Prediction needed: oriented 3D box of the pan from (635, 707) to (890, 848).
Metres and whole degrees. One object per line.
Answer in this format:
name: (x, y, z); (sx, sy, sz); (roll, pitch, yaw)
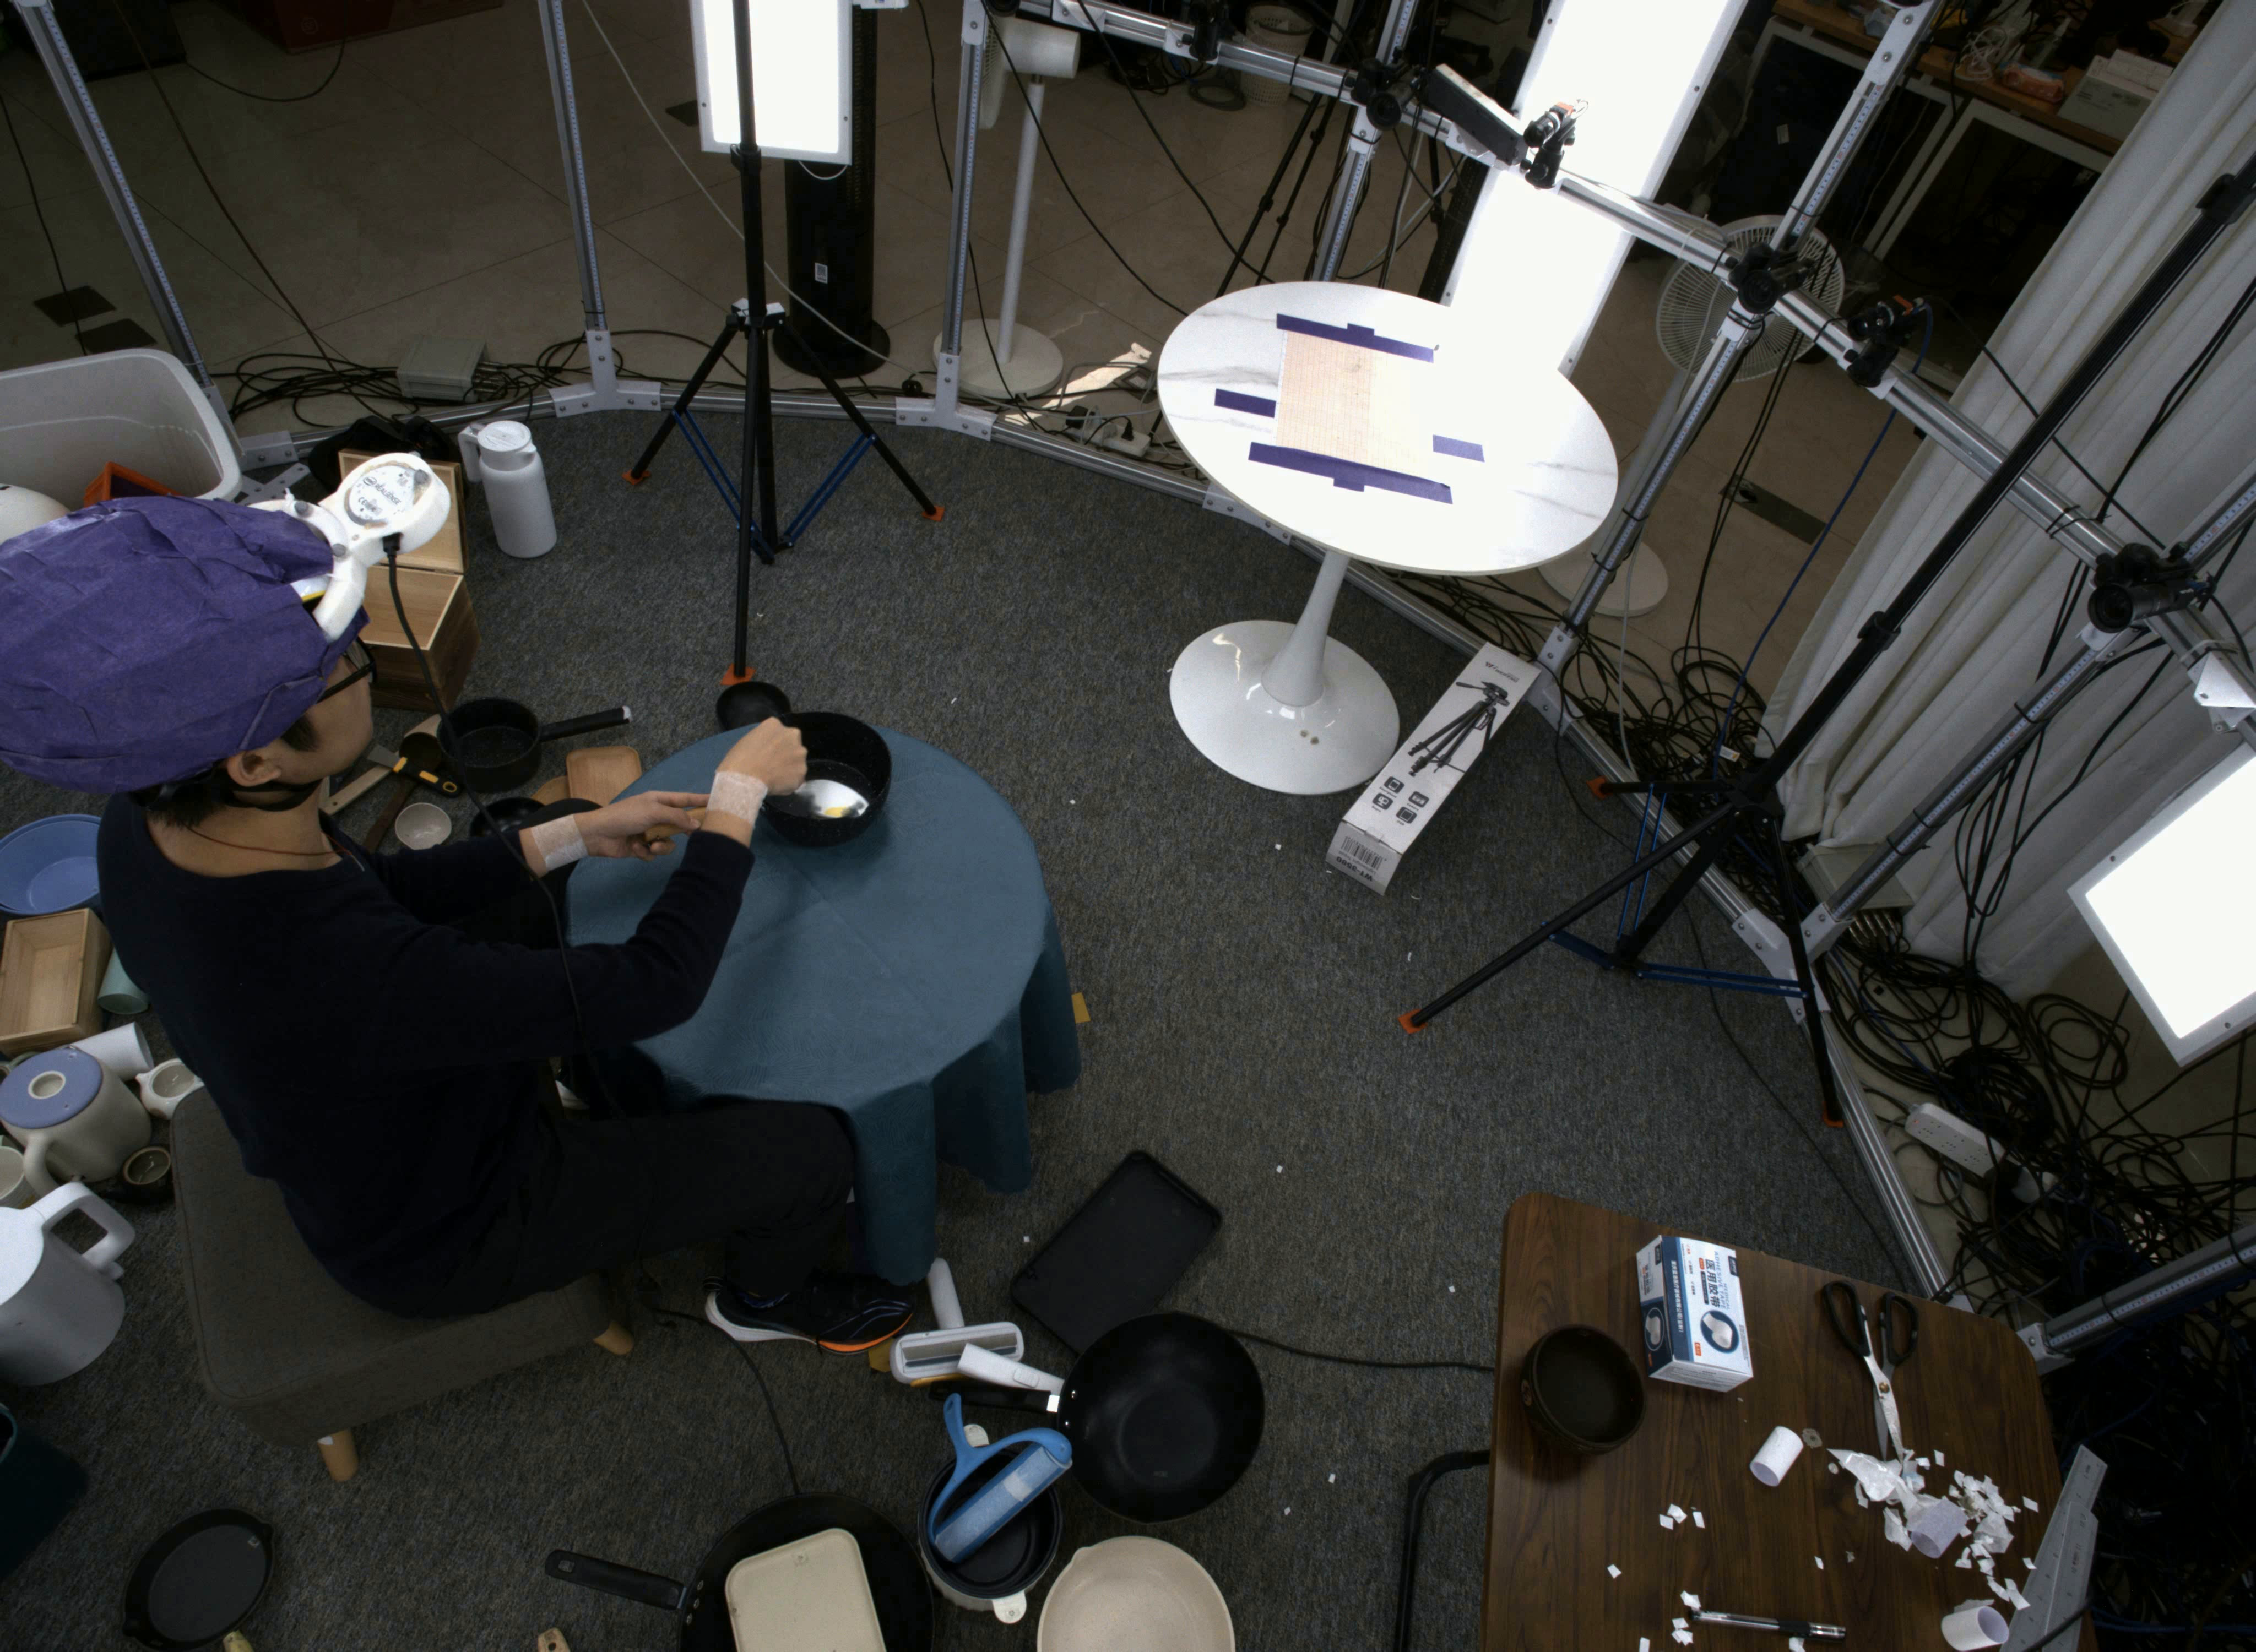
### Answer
pan: (-0.465, -0.032, 1.657); (0.344, 0.110, 0.203); (-28, 66, -32)

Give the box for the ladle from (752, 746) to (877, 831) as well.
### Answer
ladle: (-0.385, -0.052, 1.597); (0.089, 0.297, 0.070); (42, 82, 13)
